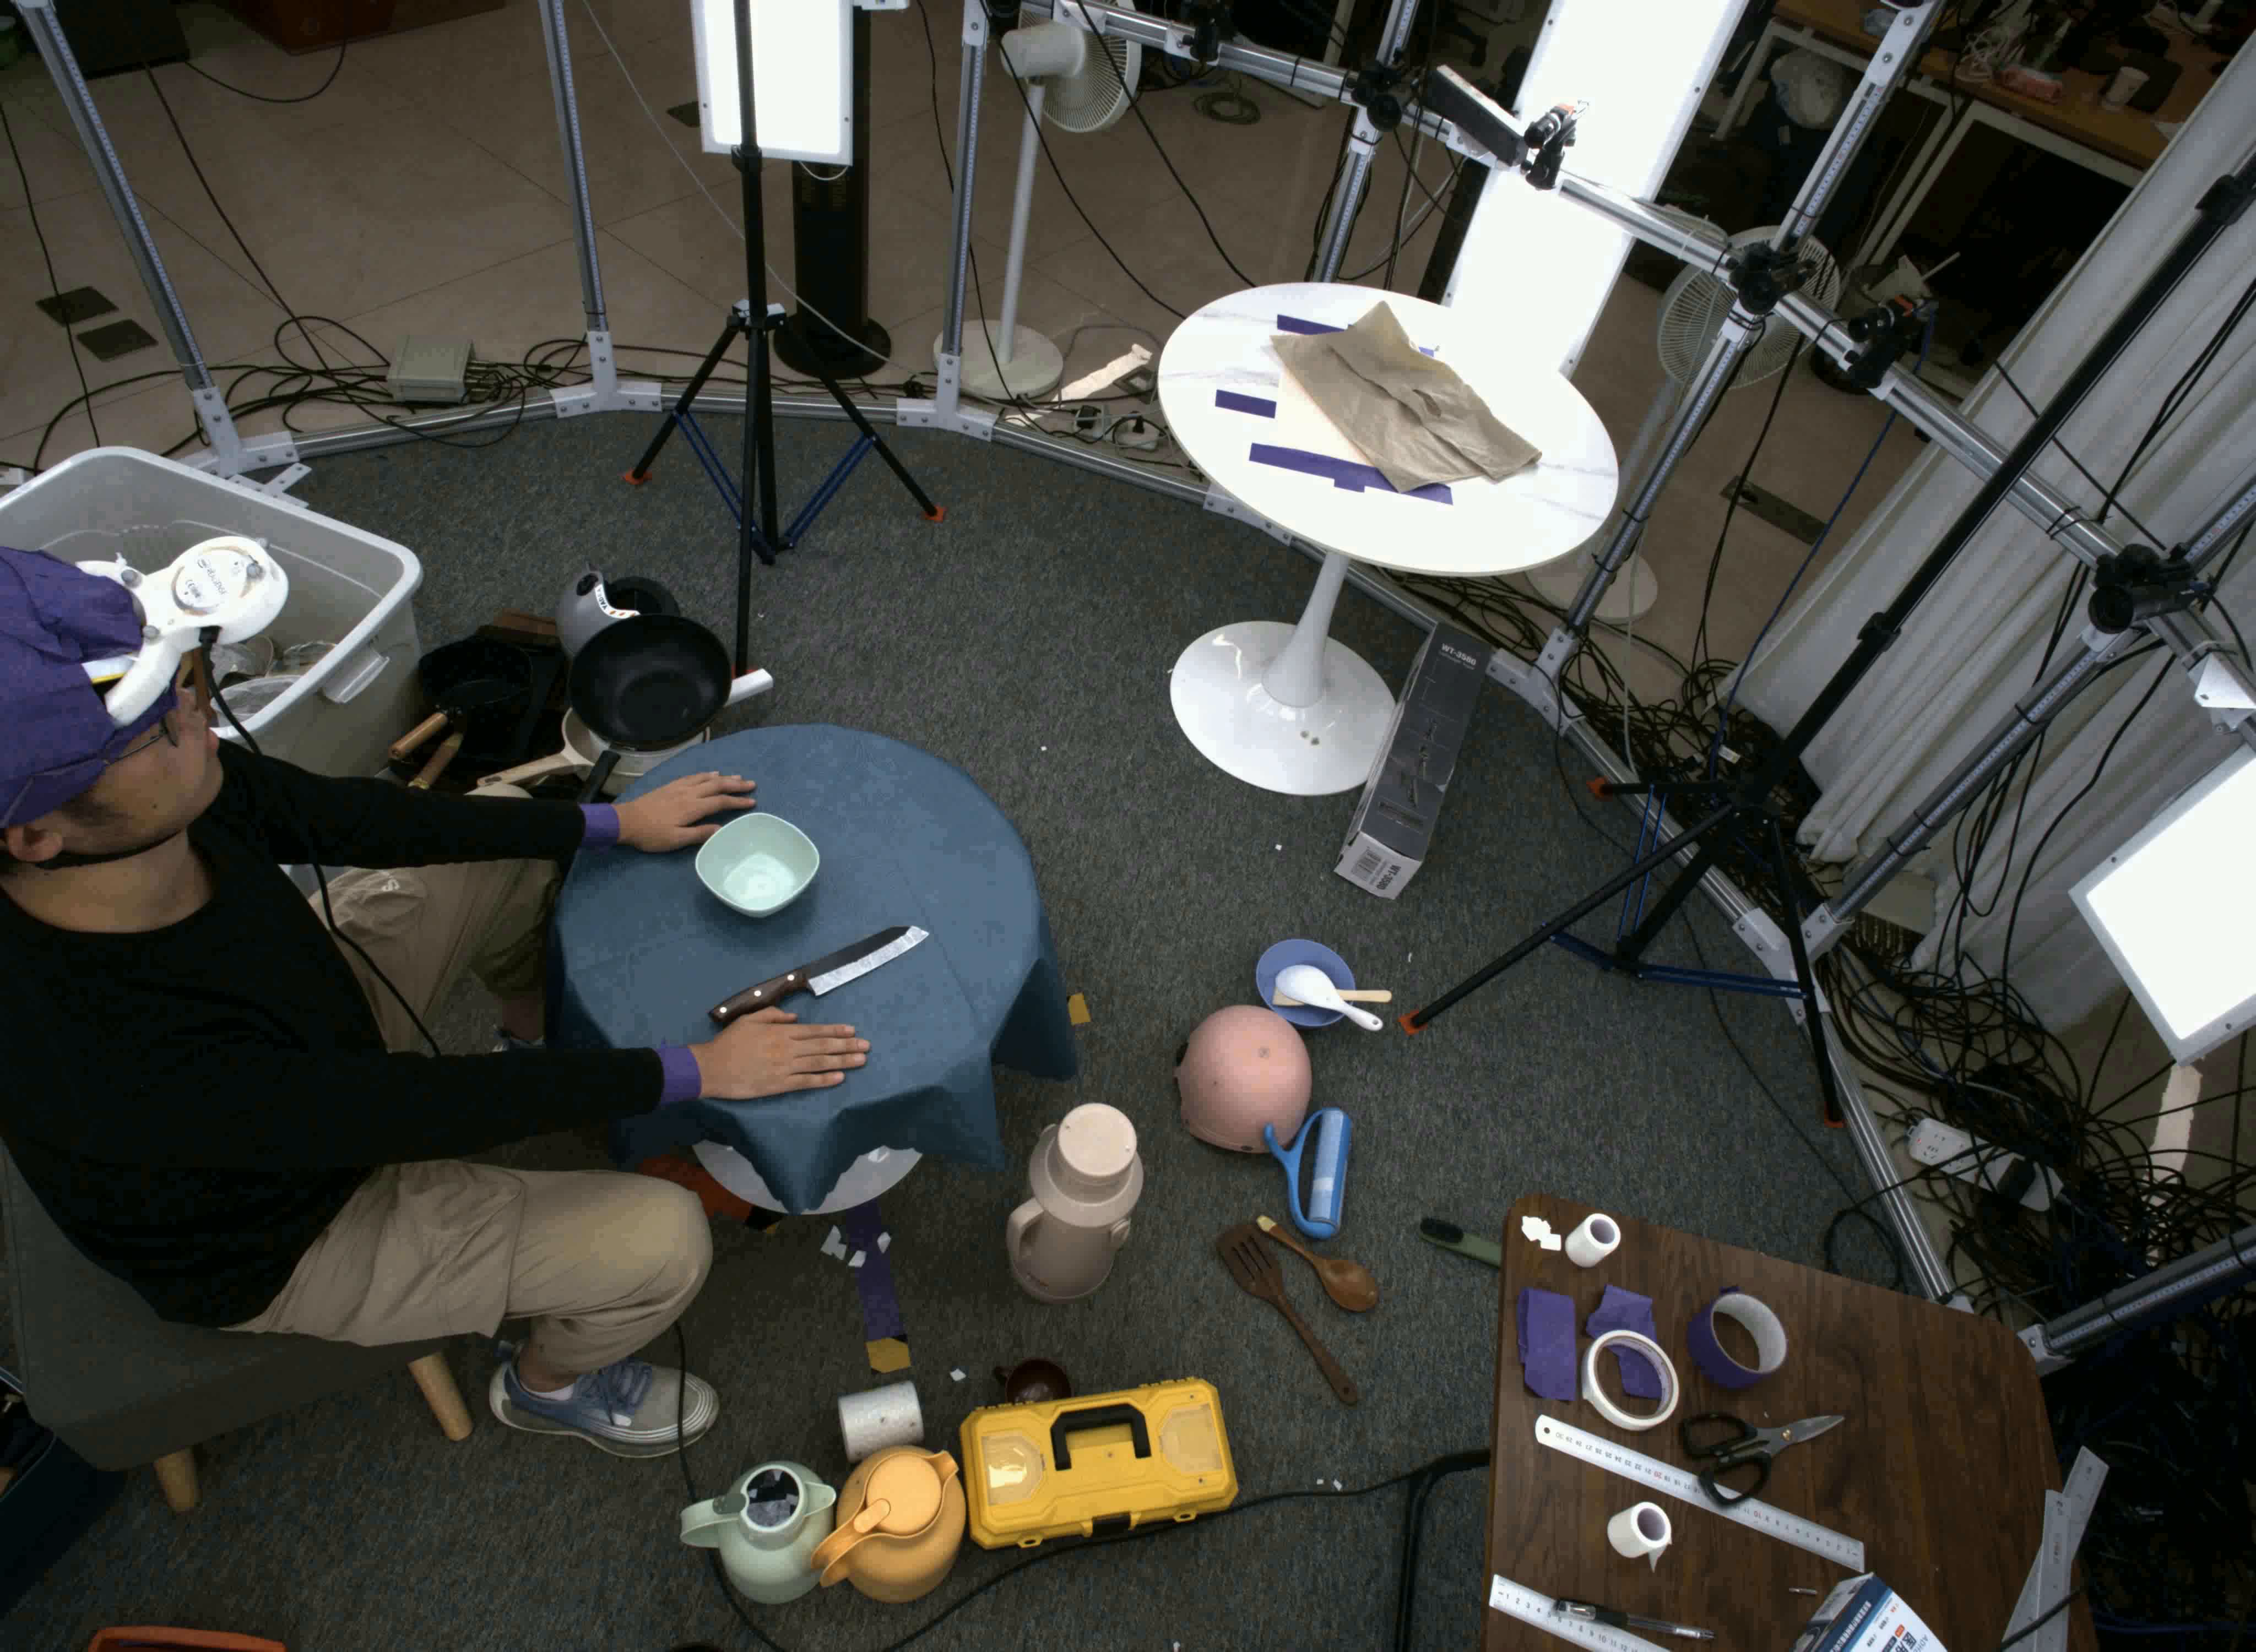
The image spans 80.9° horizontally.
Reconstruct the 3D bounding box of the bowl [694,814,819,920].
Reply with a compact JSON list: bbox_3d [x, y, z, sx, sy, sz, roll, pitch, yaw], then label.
[{"bbox_3d":[-0.466,0.059,1.629,0.151,0.060,0.148,9,50,-9],"label":"bowl"}]

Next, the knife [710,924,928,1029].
[{"bbox_3d":[-0.373,0.179,1.591,0.291,0.020,0.049,-22,67,-31],"label":"knife"}]
